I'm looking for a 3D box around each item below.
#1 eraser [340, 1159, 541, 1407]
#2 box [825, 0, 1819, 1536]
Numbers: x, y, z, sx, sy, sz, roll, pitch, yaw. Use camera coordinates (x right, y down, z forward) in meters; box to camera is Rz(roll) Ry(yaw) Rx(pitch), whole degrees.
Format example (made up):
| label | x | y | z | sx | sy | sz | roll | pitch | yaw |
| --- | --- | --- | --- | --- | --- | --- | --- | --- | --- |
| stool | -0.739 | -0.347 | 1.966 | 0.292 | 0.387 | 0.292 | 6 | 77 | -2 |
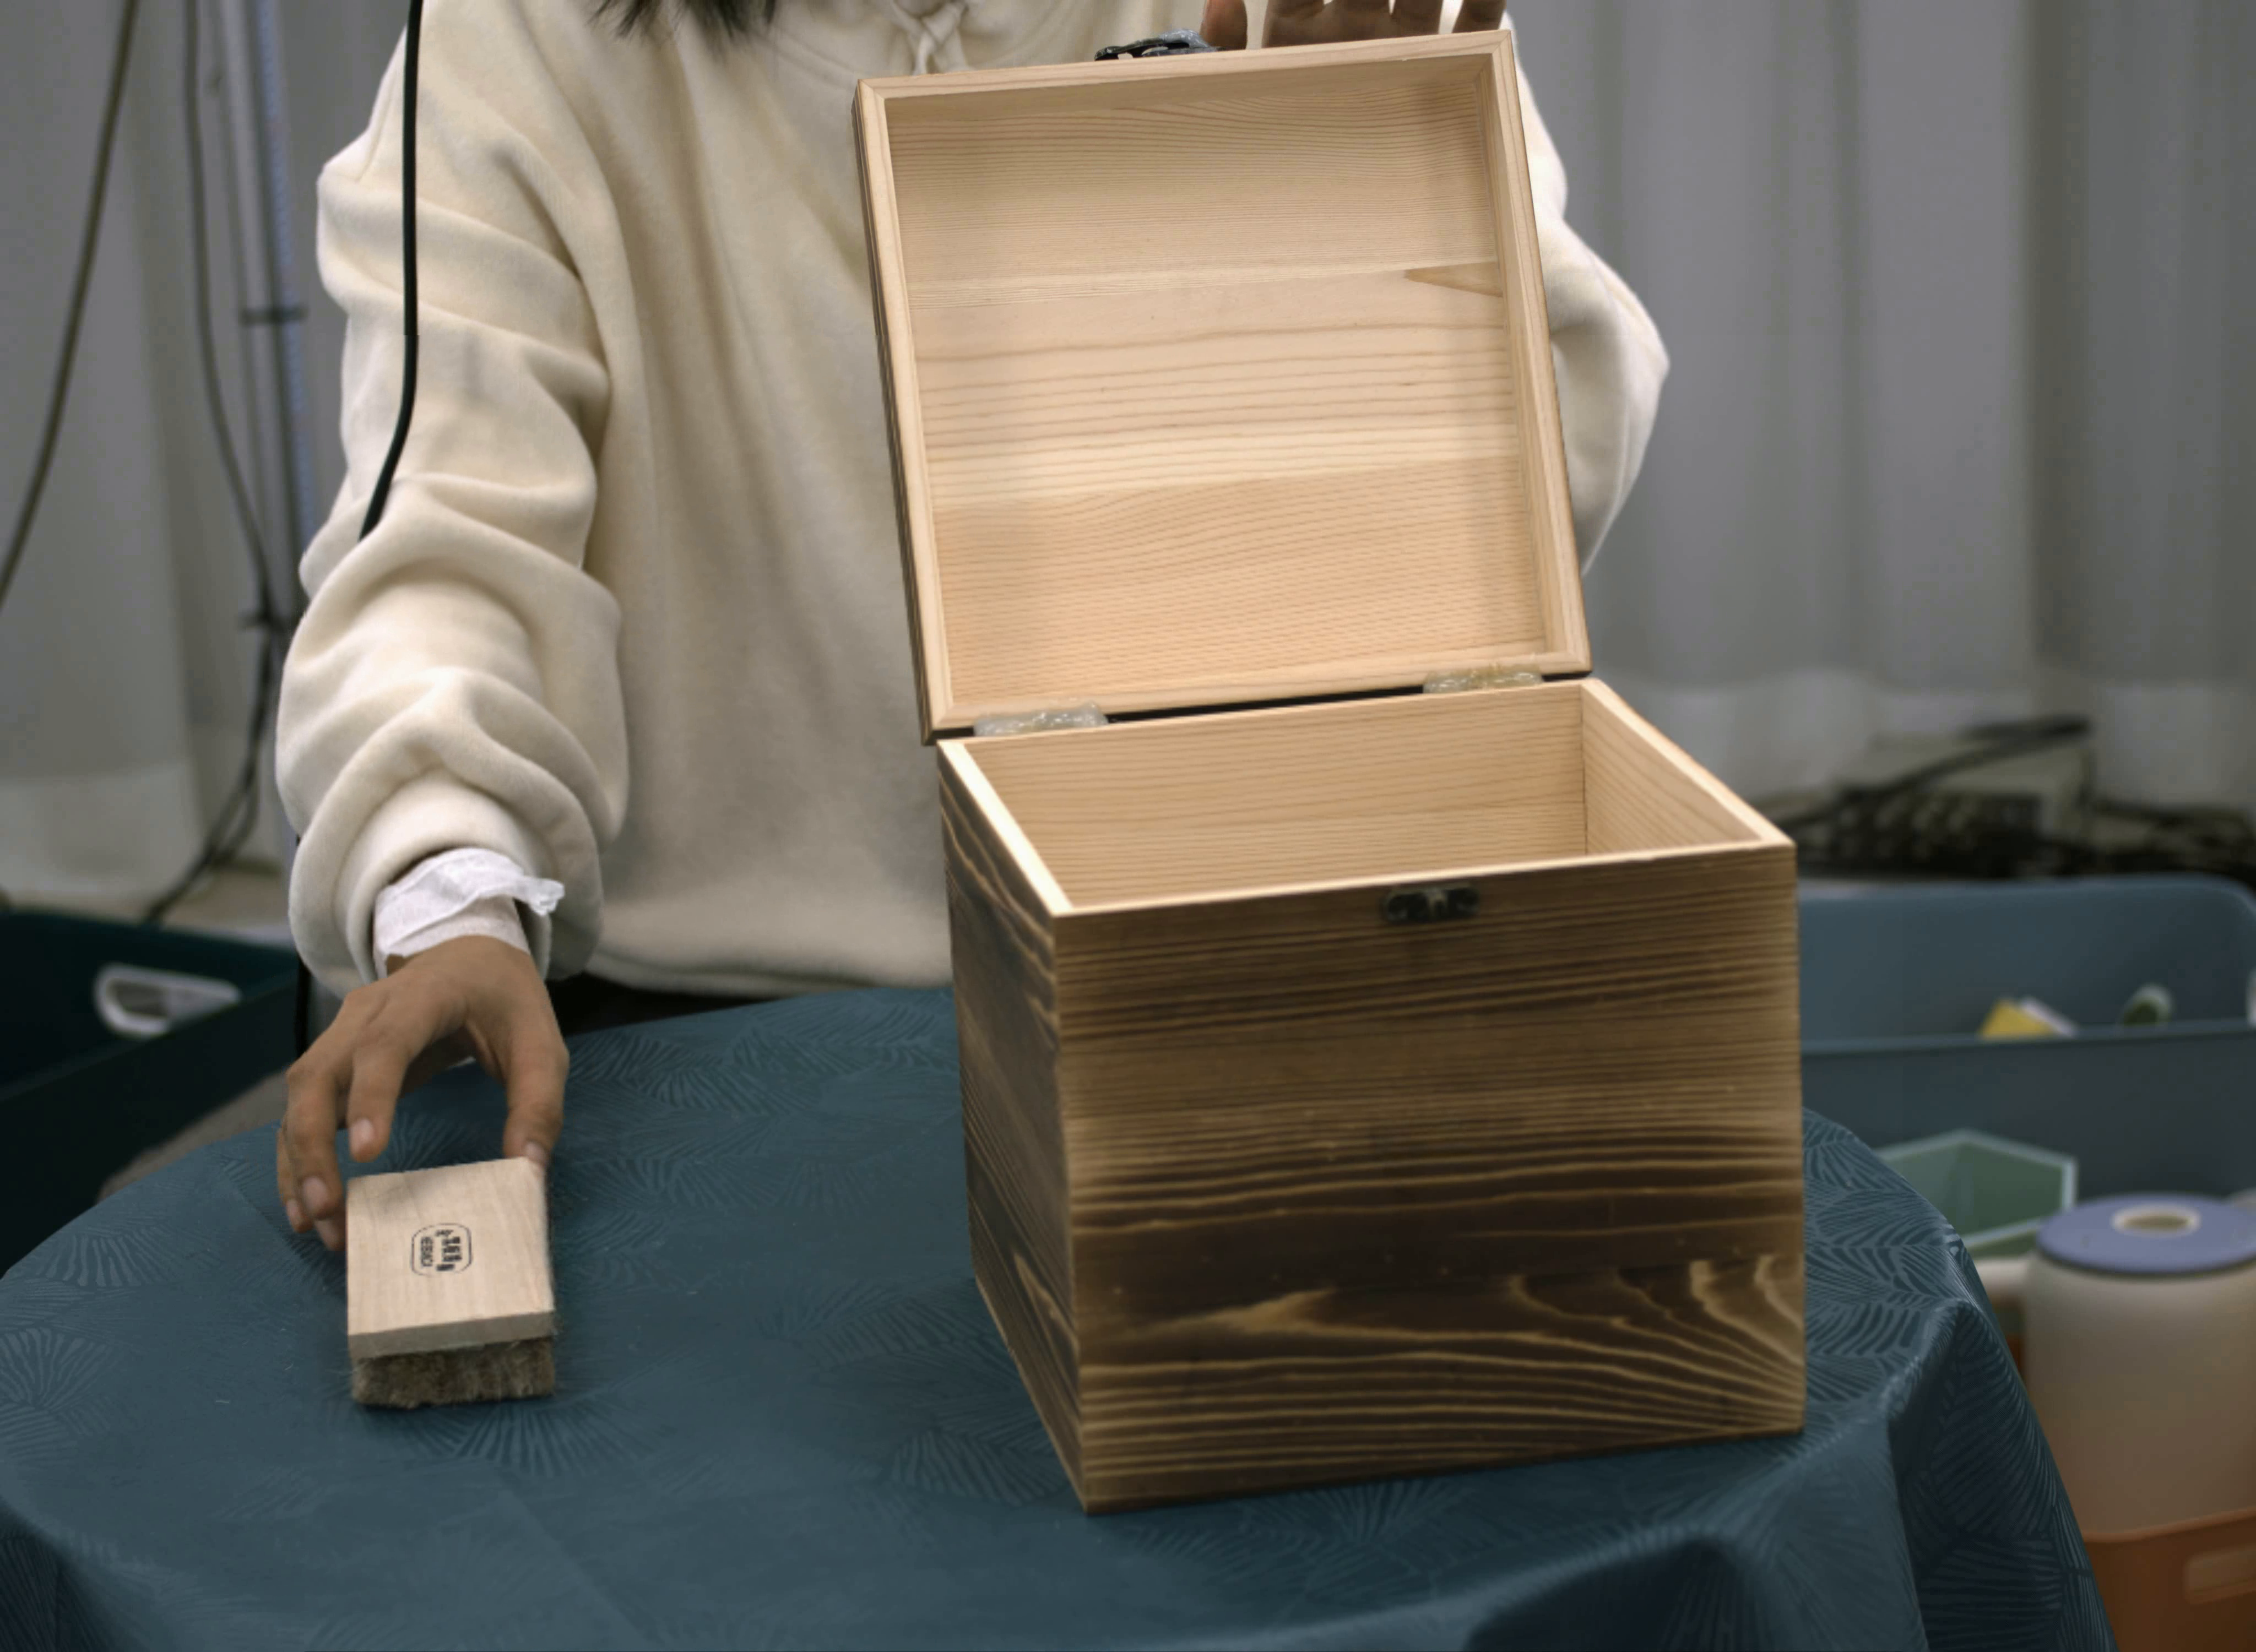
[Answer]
| label | x | y | z | sx | sy | sz | roll | pitch | yaw |
| --- | --- | --- | --- | --- | --- | --- | --- | --- | --- |
| eraser | -0.202 | 0.136 | 1.620 | 0.057 | 0.029 | 0.140 | -7 | 14 | -5 |
| box | 0.048 | -0.036 | 1.570 | 0.208 | 0.374 | 0.324 | -6 | 14 | -10 |
